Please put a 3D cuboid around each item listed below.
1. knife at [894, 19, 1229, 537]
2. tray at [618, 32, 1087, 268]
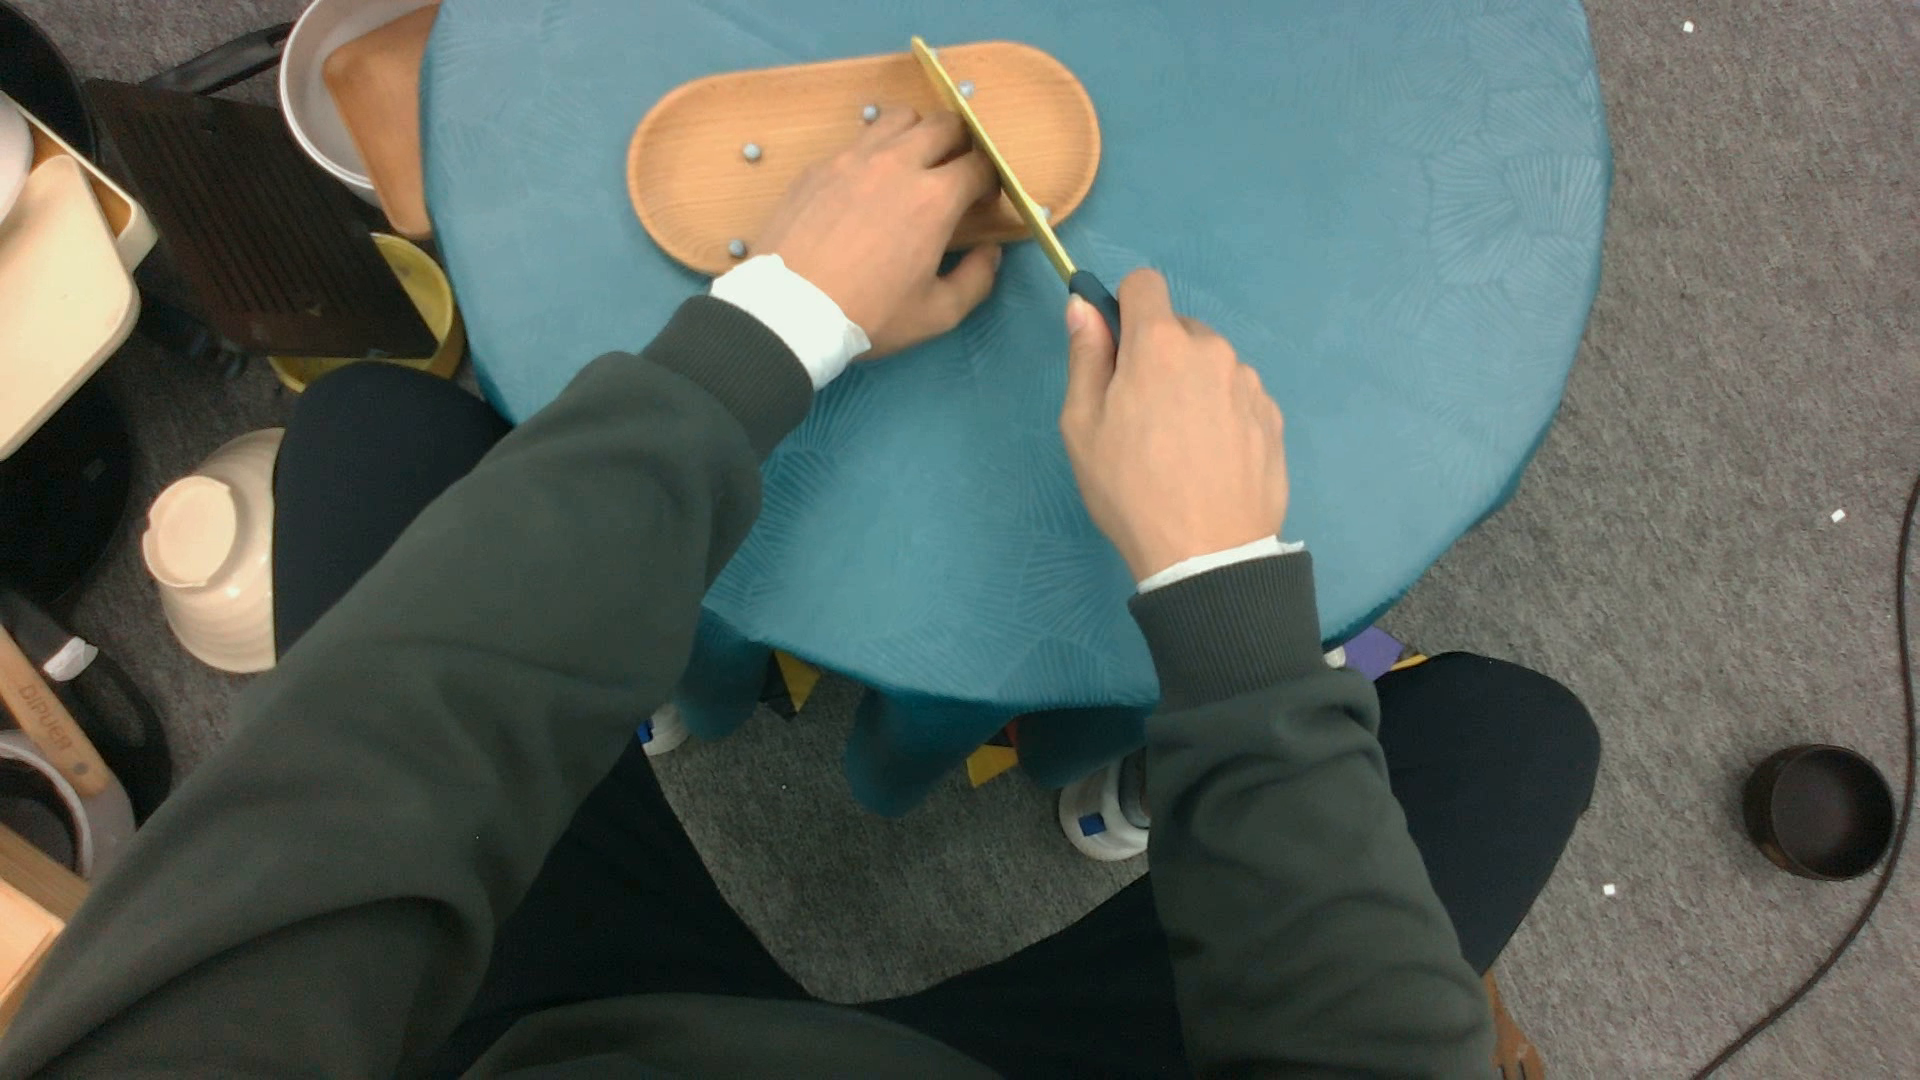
[{"bbox_3d":[0.040,-0.125,0.629,0.027,0.081,0.290,-31,78,7],"label":"knife"},{"bbox_3d":[-0.051,-0.192,0.679,0.231,0.020,0.102,-10,85,-9],"label":"tray"}]
